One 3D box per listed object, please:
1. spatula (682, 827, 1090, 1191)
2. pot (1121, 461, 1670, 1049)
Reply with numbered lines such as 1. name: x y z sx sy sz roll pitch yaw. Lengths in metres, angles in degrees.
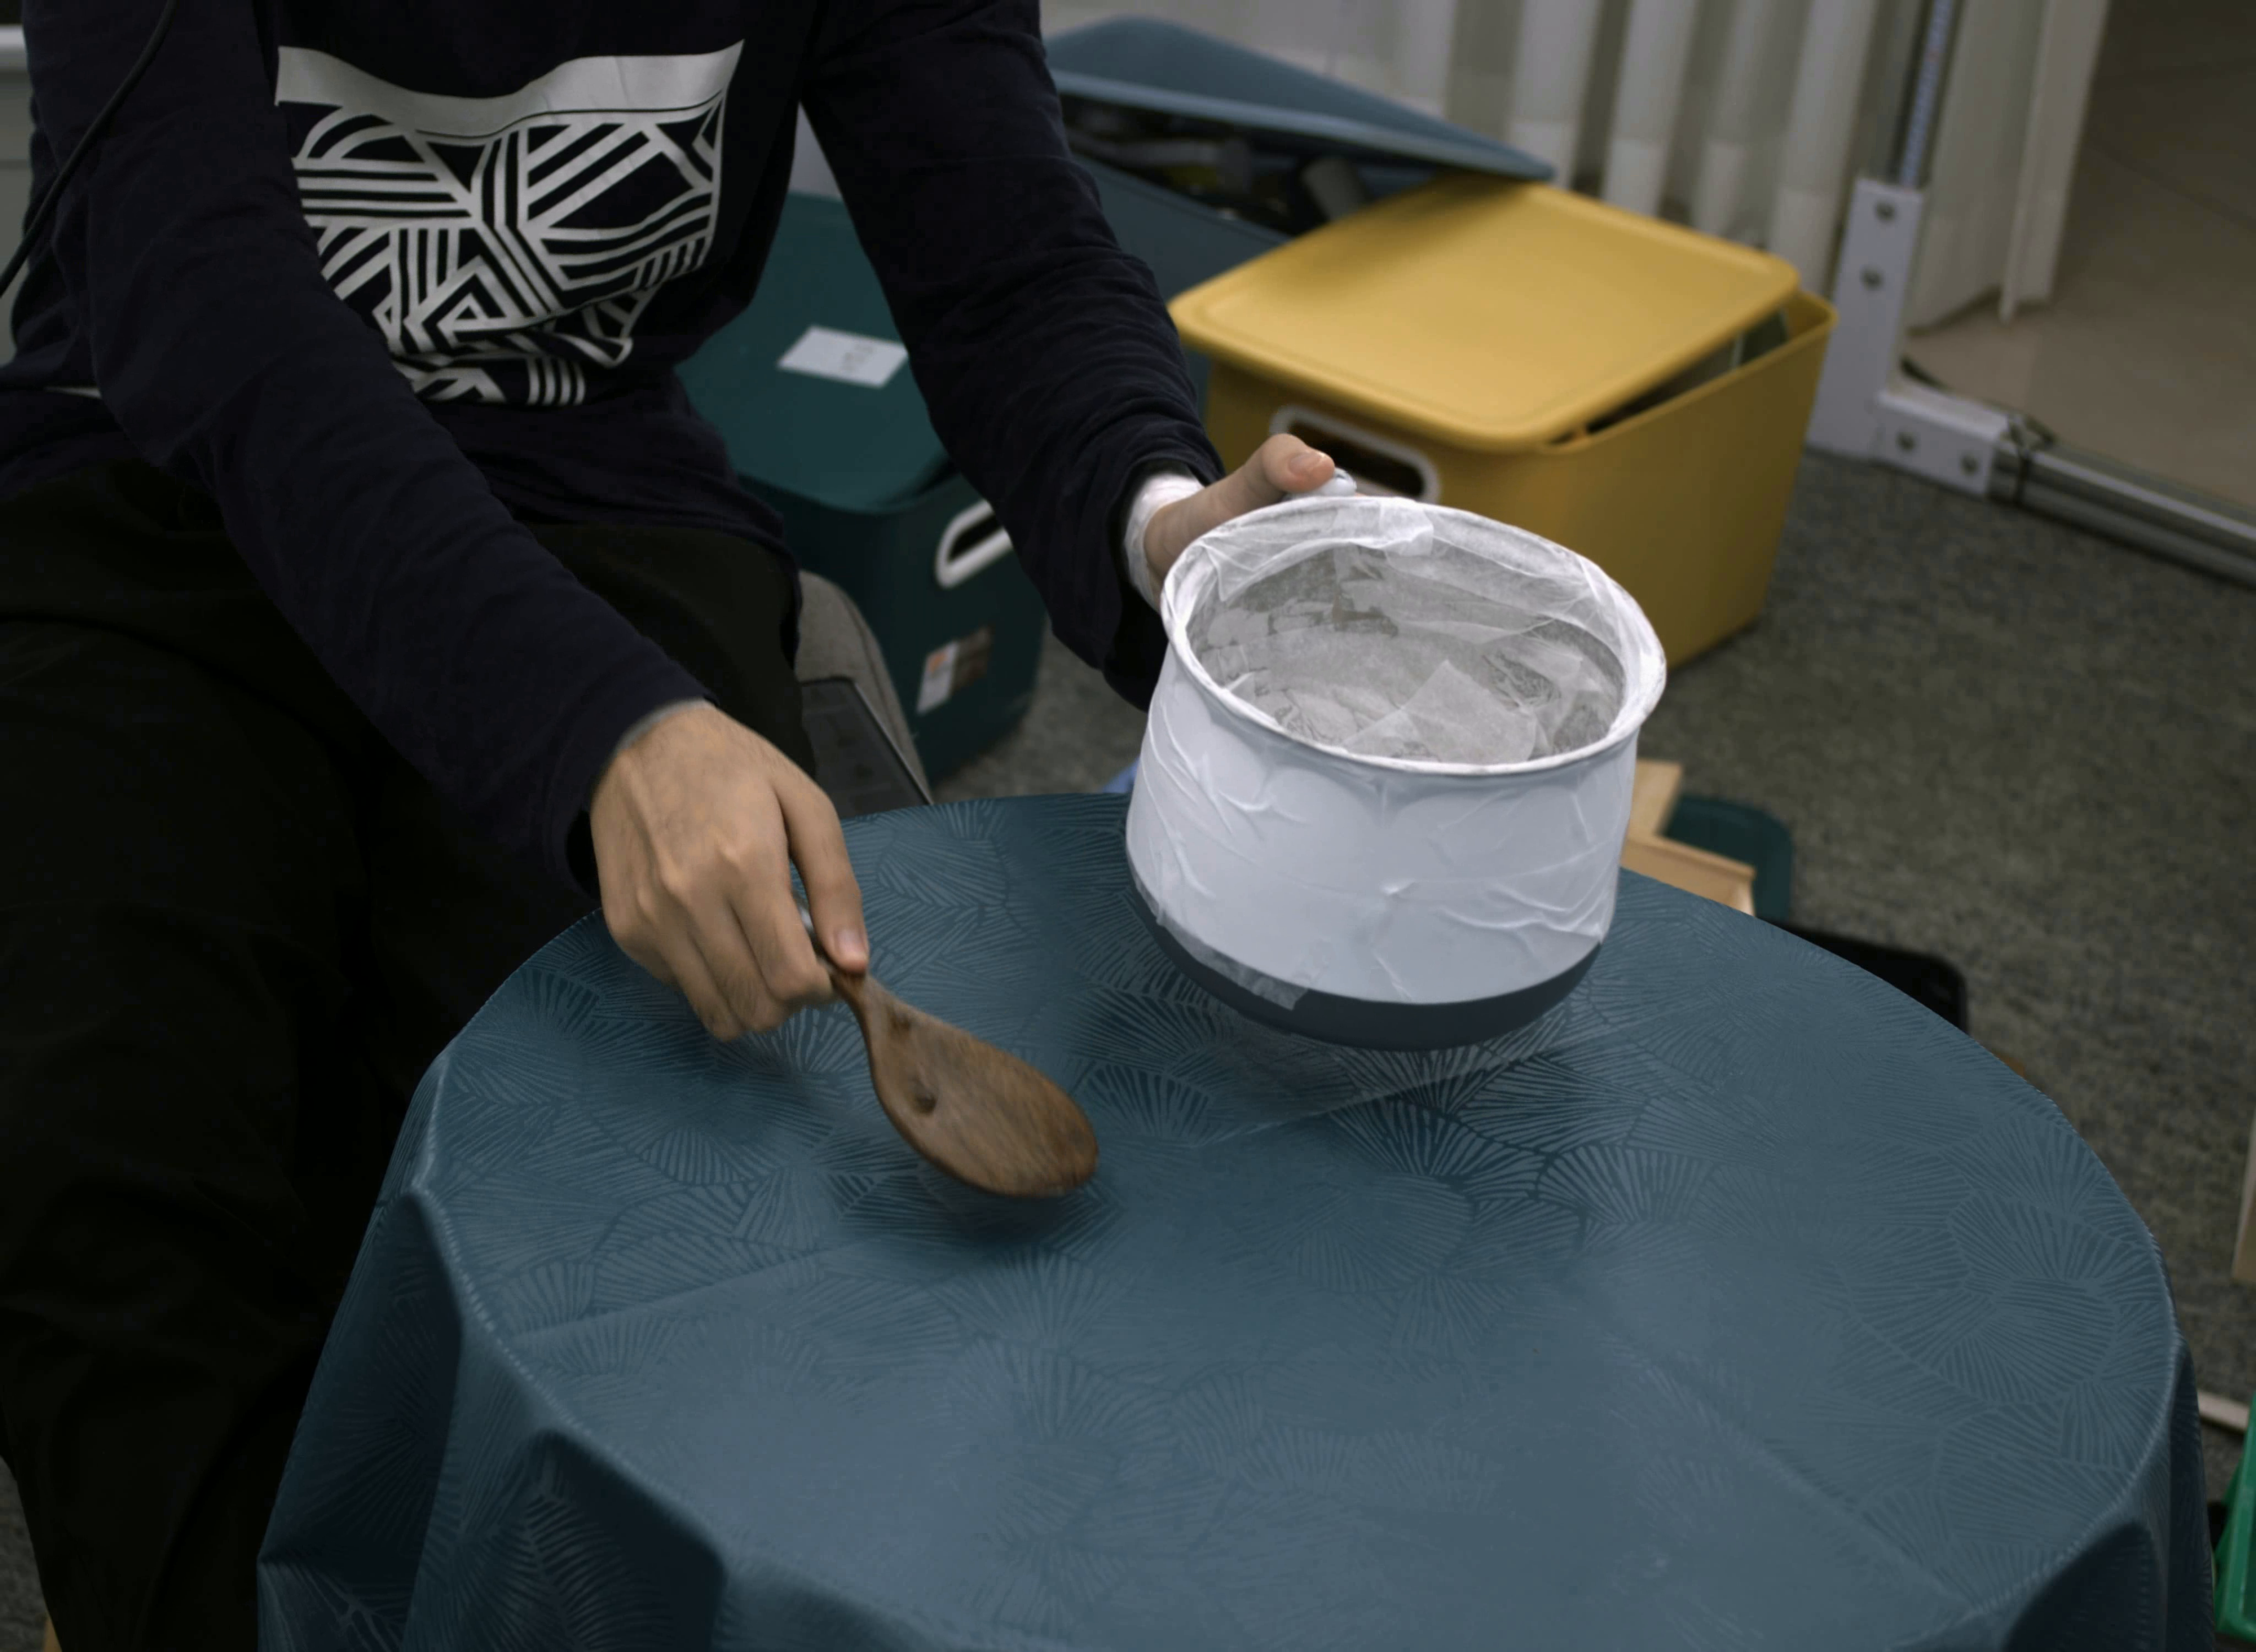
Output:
1. spatula: -0.089 0.059 1.825 0.071 0.009 0.217 -7 37 -40
2. pot: 0.083 -0.034 1.898 0.177 0.136 0.236 -1 36 -18
